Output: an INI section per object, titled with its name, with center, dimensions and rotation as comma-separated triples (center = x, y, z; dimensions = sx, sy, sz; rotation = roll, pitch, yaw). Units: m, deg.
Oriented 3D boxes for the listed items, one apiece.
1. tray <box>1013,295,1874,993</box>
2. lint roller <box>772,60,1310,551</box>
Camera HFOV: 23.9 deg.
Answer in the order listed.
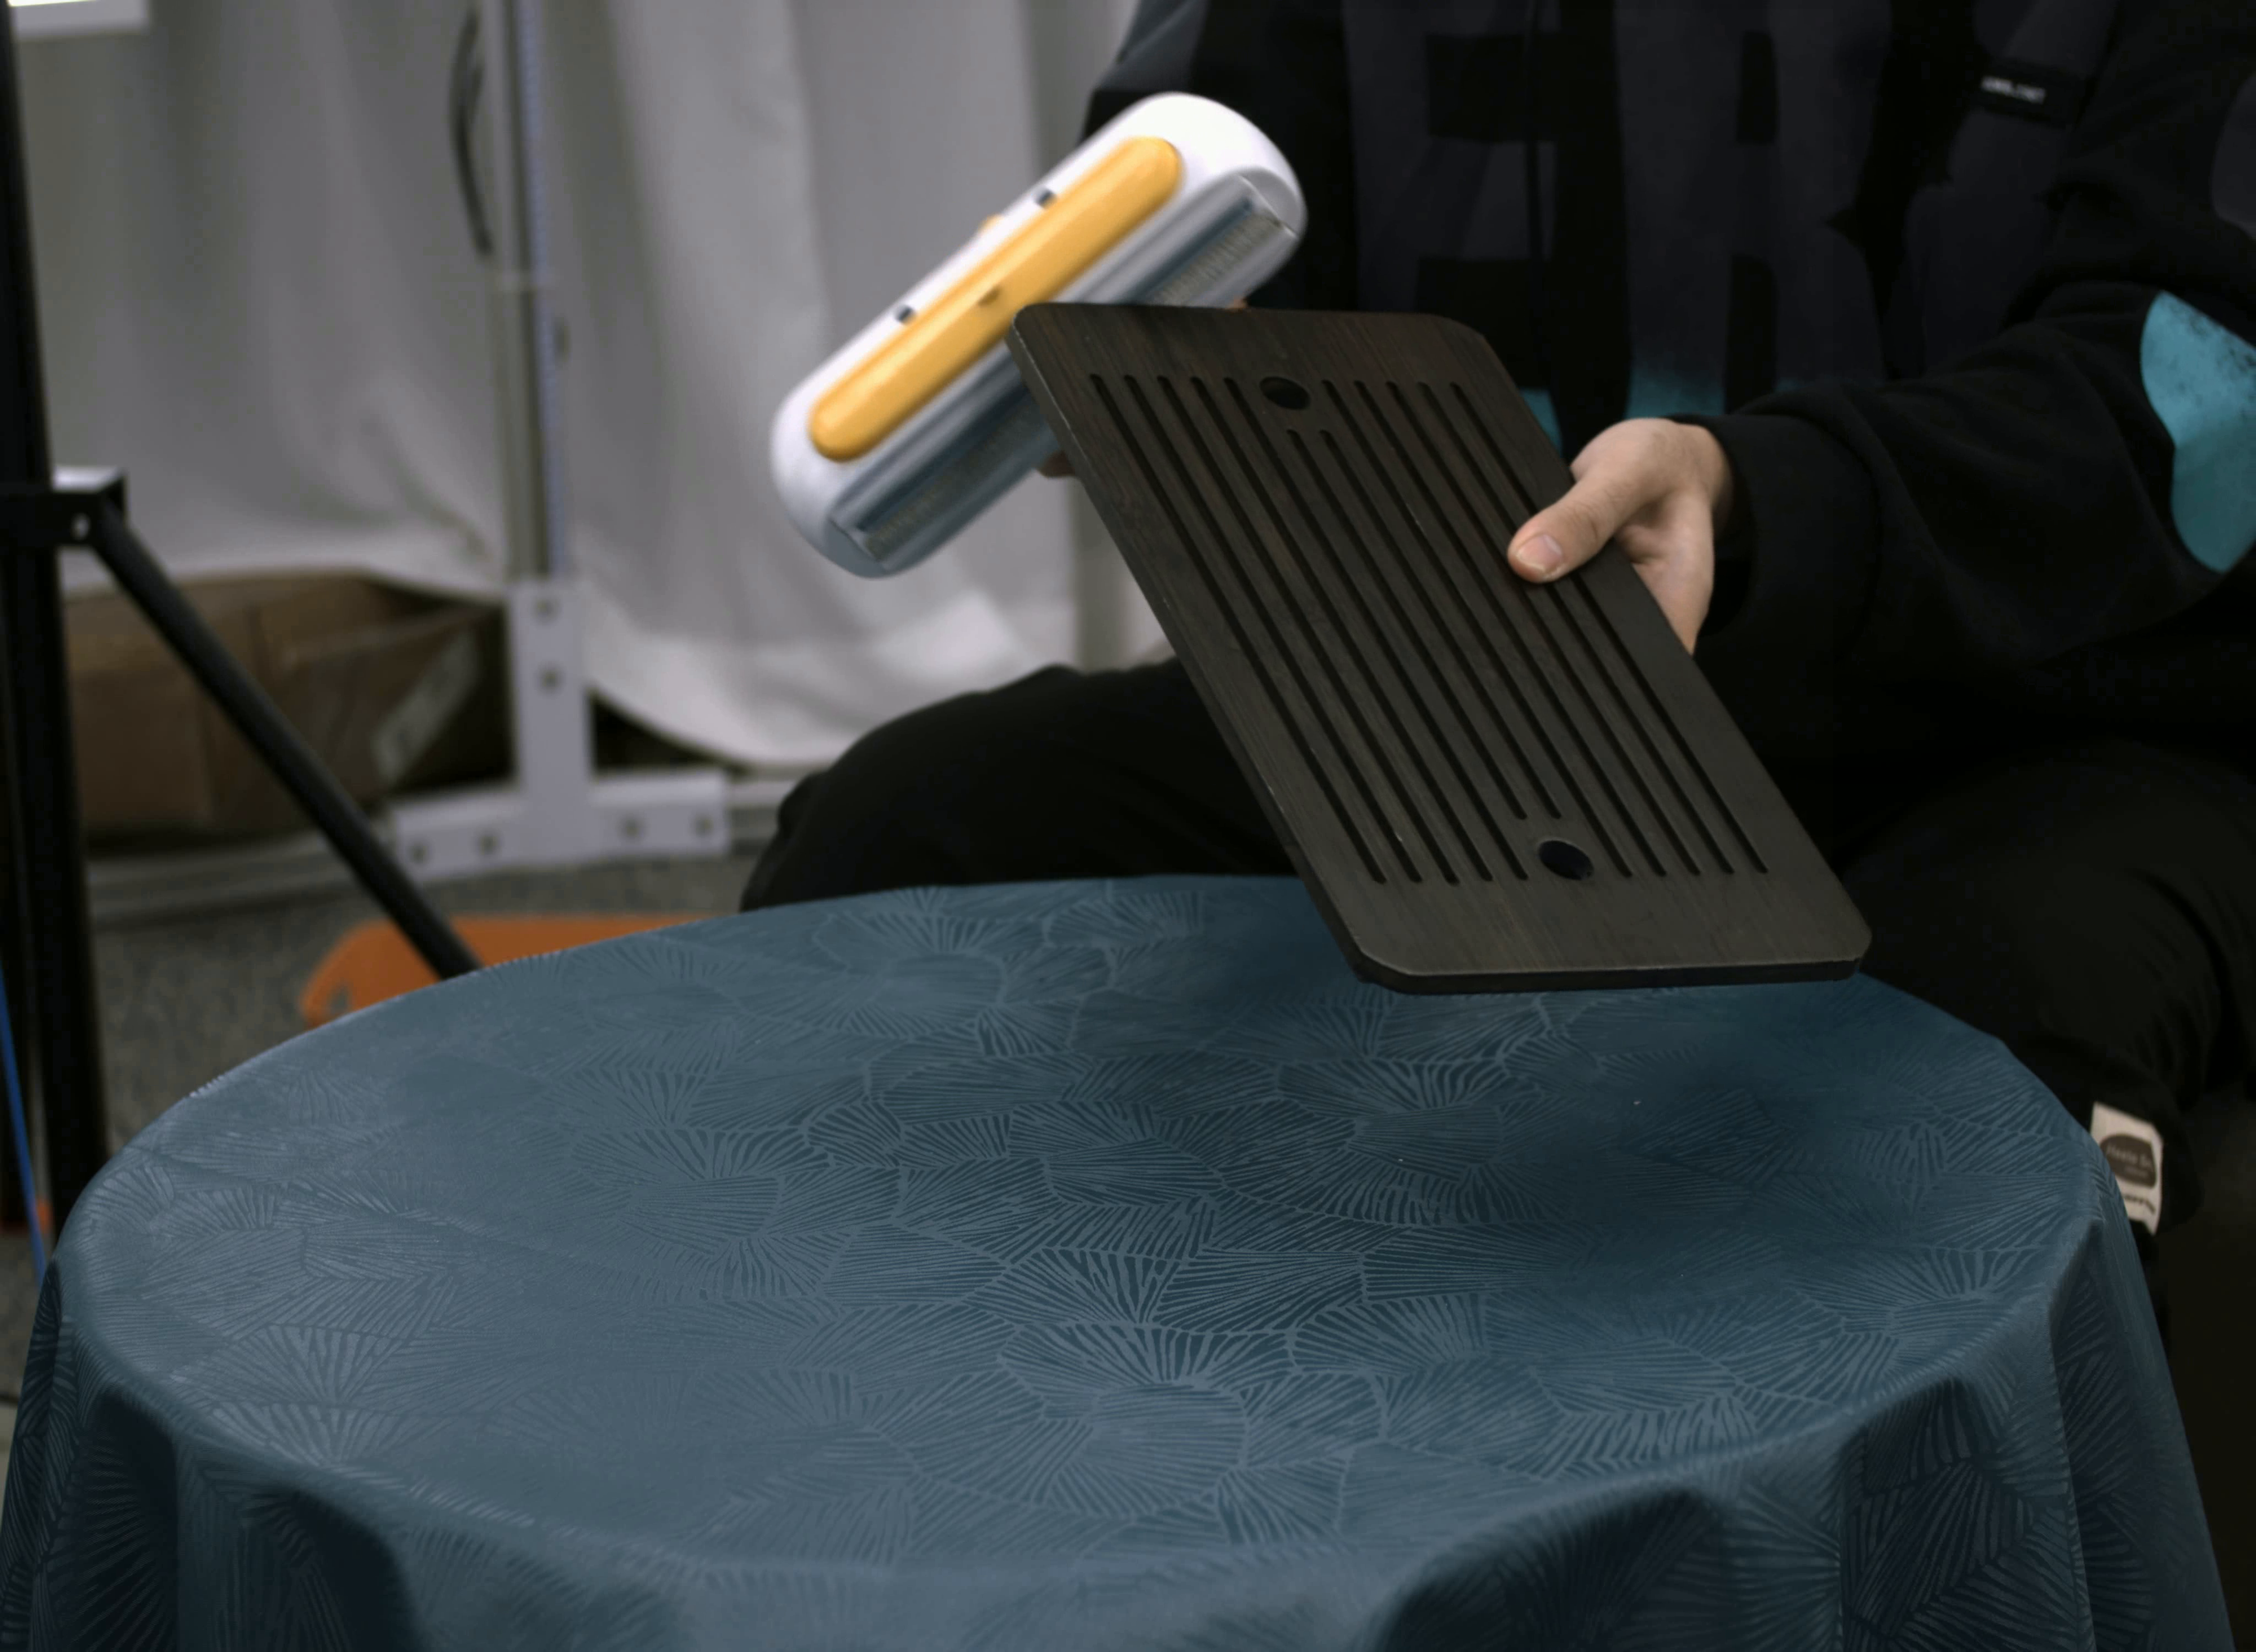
[tray]
center = 0.088, -0.056, 1.578
dimensions = 0.166, 0.018, 0.312
rotation = -1, 41, -26
[lint roller]
center = -0.017, -0.150, 1.739
dimensions = 0.075, 0.193, 0.189
rotation = 49, 2, 25
